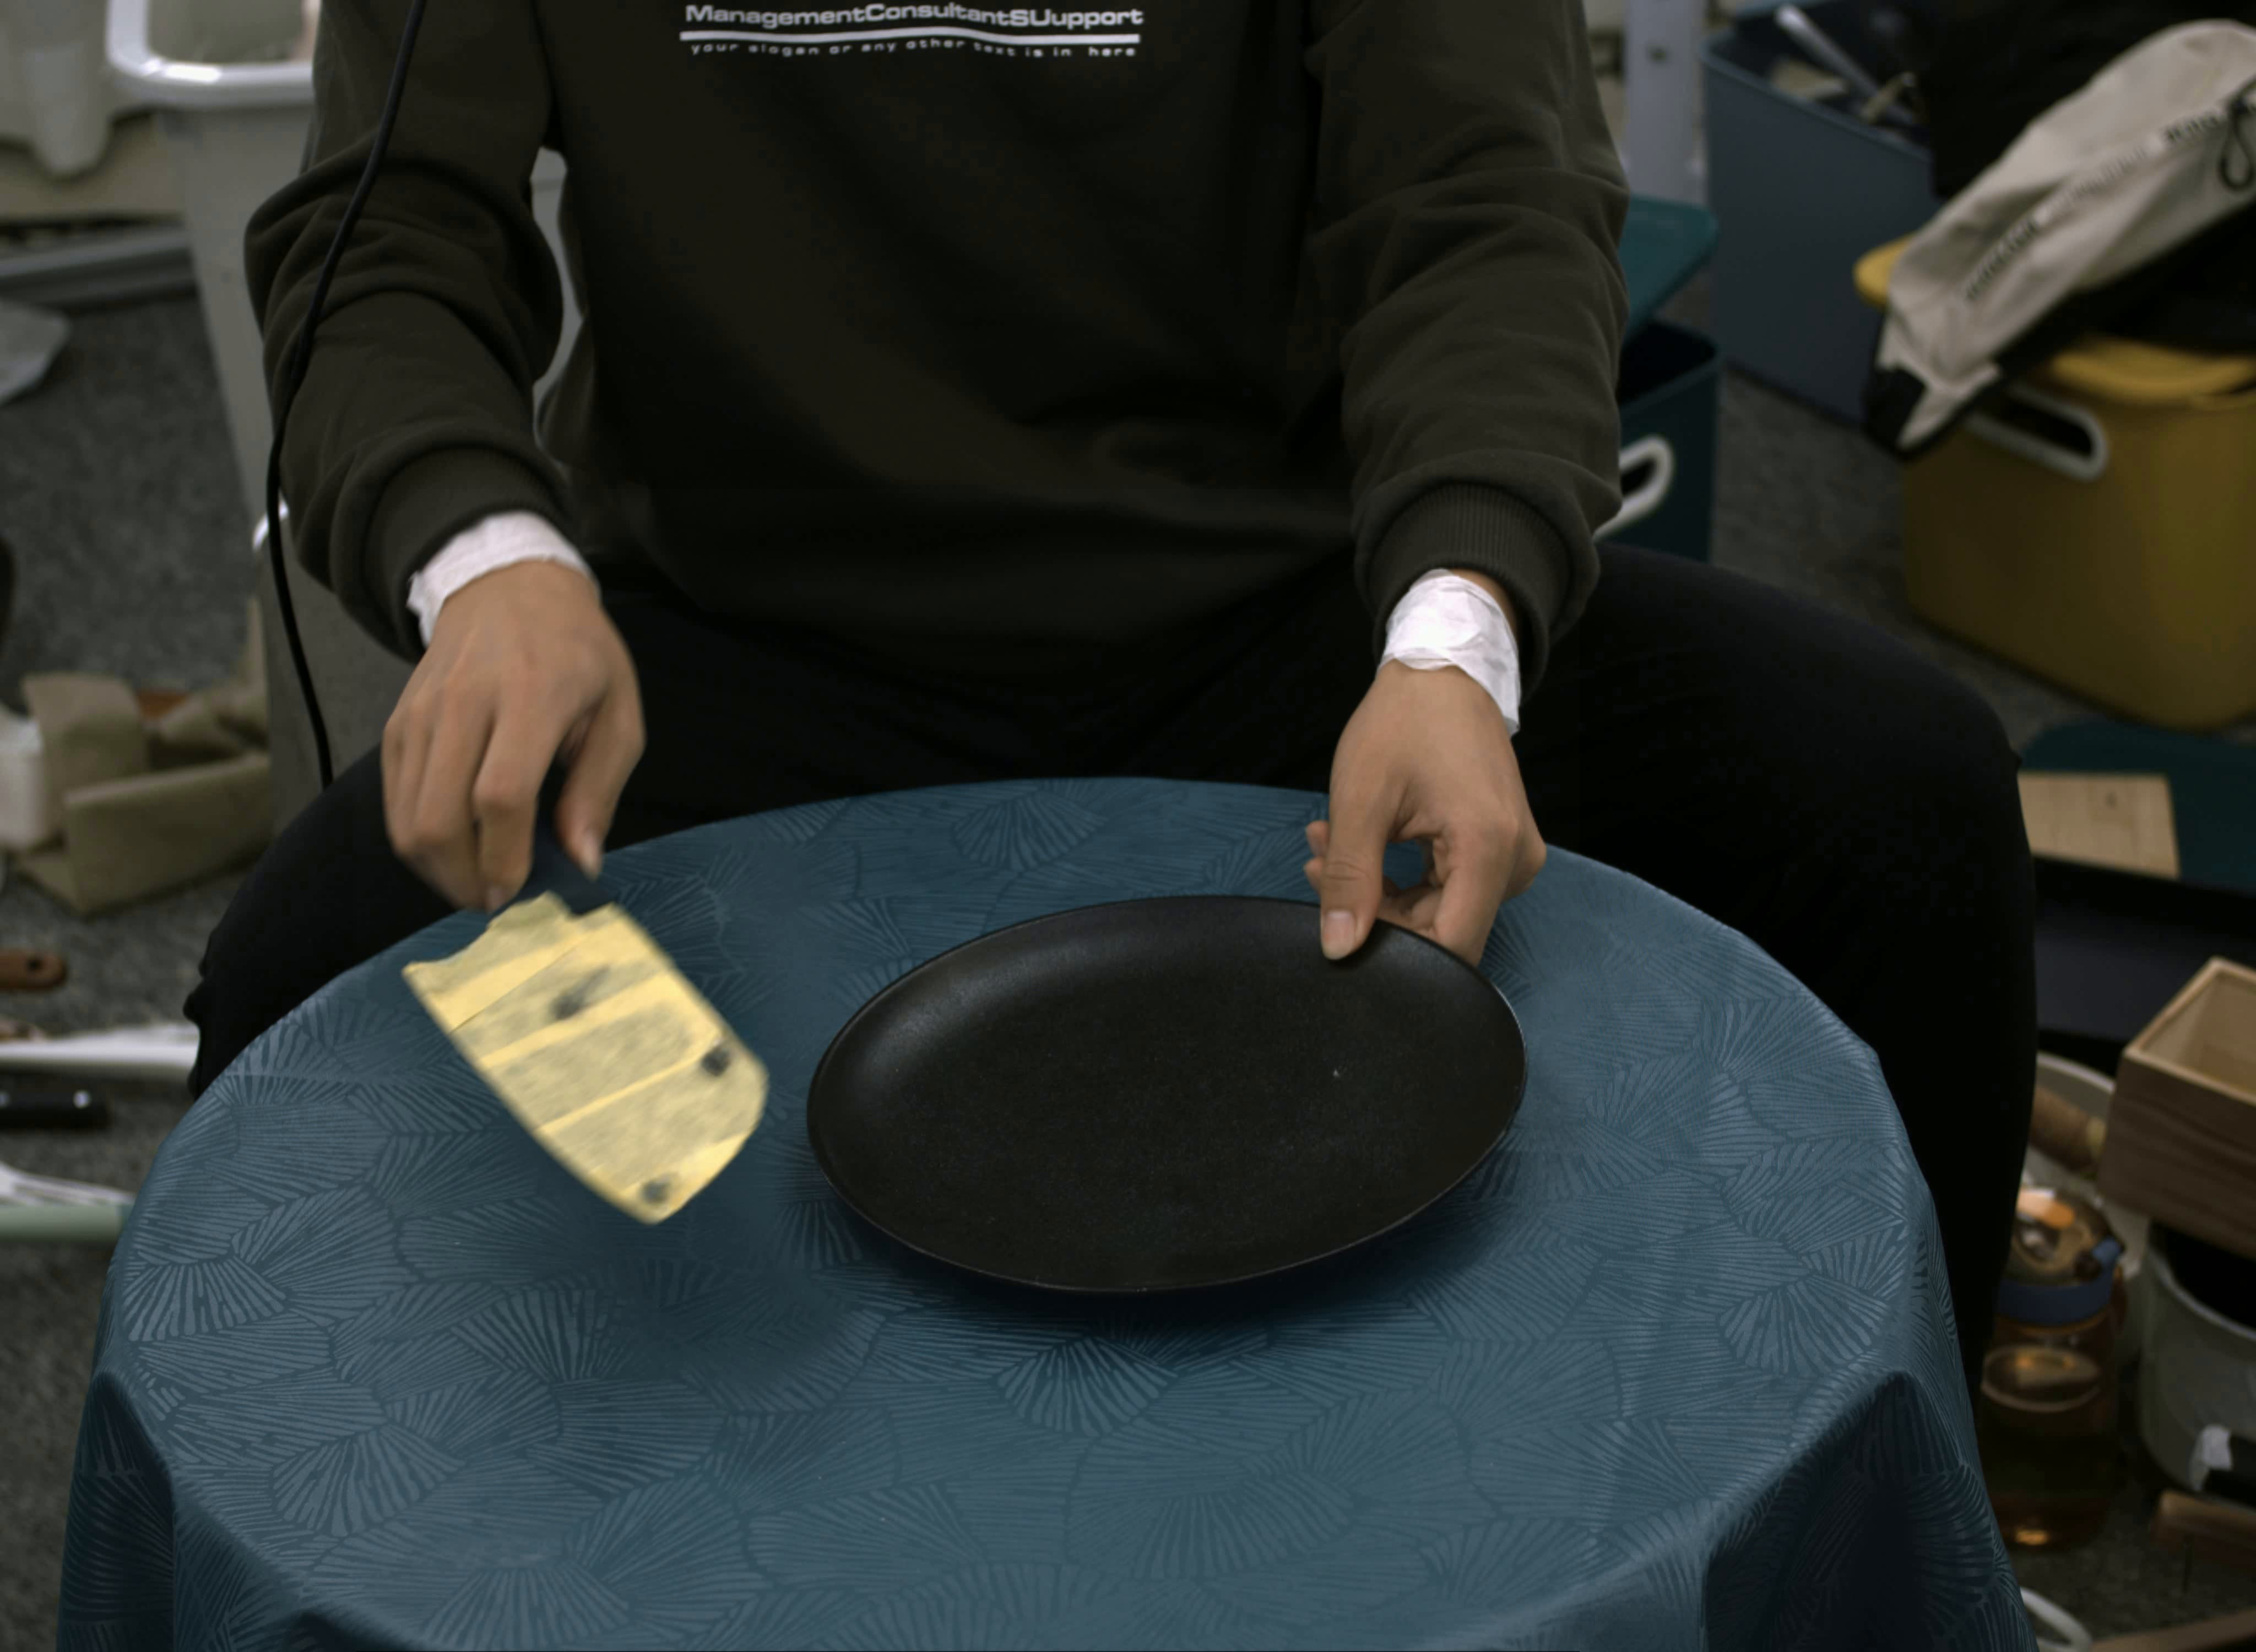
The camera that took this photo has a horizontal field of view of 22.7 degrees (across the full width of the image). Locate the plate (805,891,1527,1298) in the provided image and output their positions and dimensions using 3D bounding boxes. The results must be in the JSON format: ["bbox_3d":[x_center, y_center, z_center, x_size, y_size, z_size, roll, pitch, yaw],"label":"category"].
[{"bbox_3d":[0.013,0.093,1.879,0.243,0.023,0.248,-4,30,3],"label":"plate"}]

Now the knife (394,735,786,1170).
[{"bbox_3d":[-0.190,0.042,1.845,0.081,0.027,0.291,-21,34,-19],"label":"knife"}]
